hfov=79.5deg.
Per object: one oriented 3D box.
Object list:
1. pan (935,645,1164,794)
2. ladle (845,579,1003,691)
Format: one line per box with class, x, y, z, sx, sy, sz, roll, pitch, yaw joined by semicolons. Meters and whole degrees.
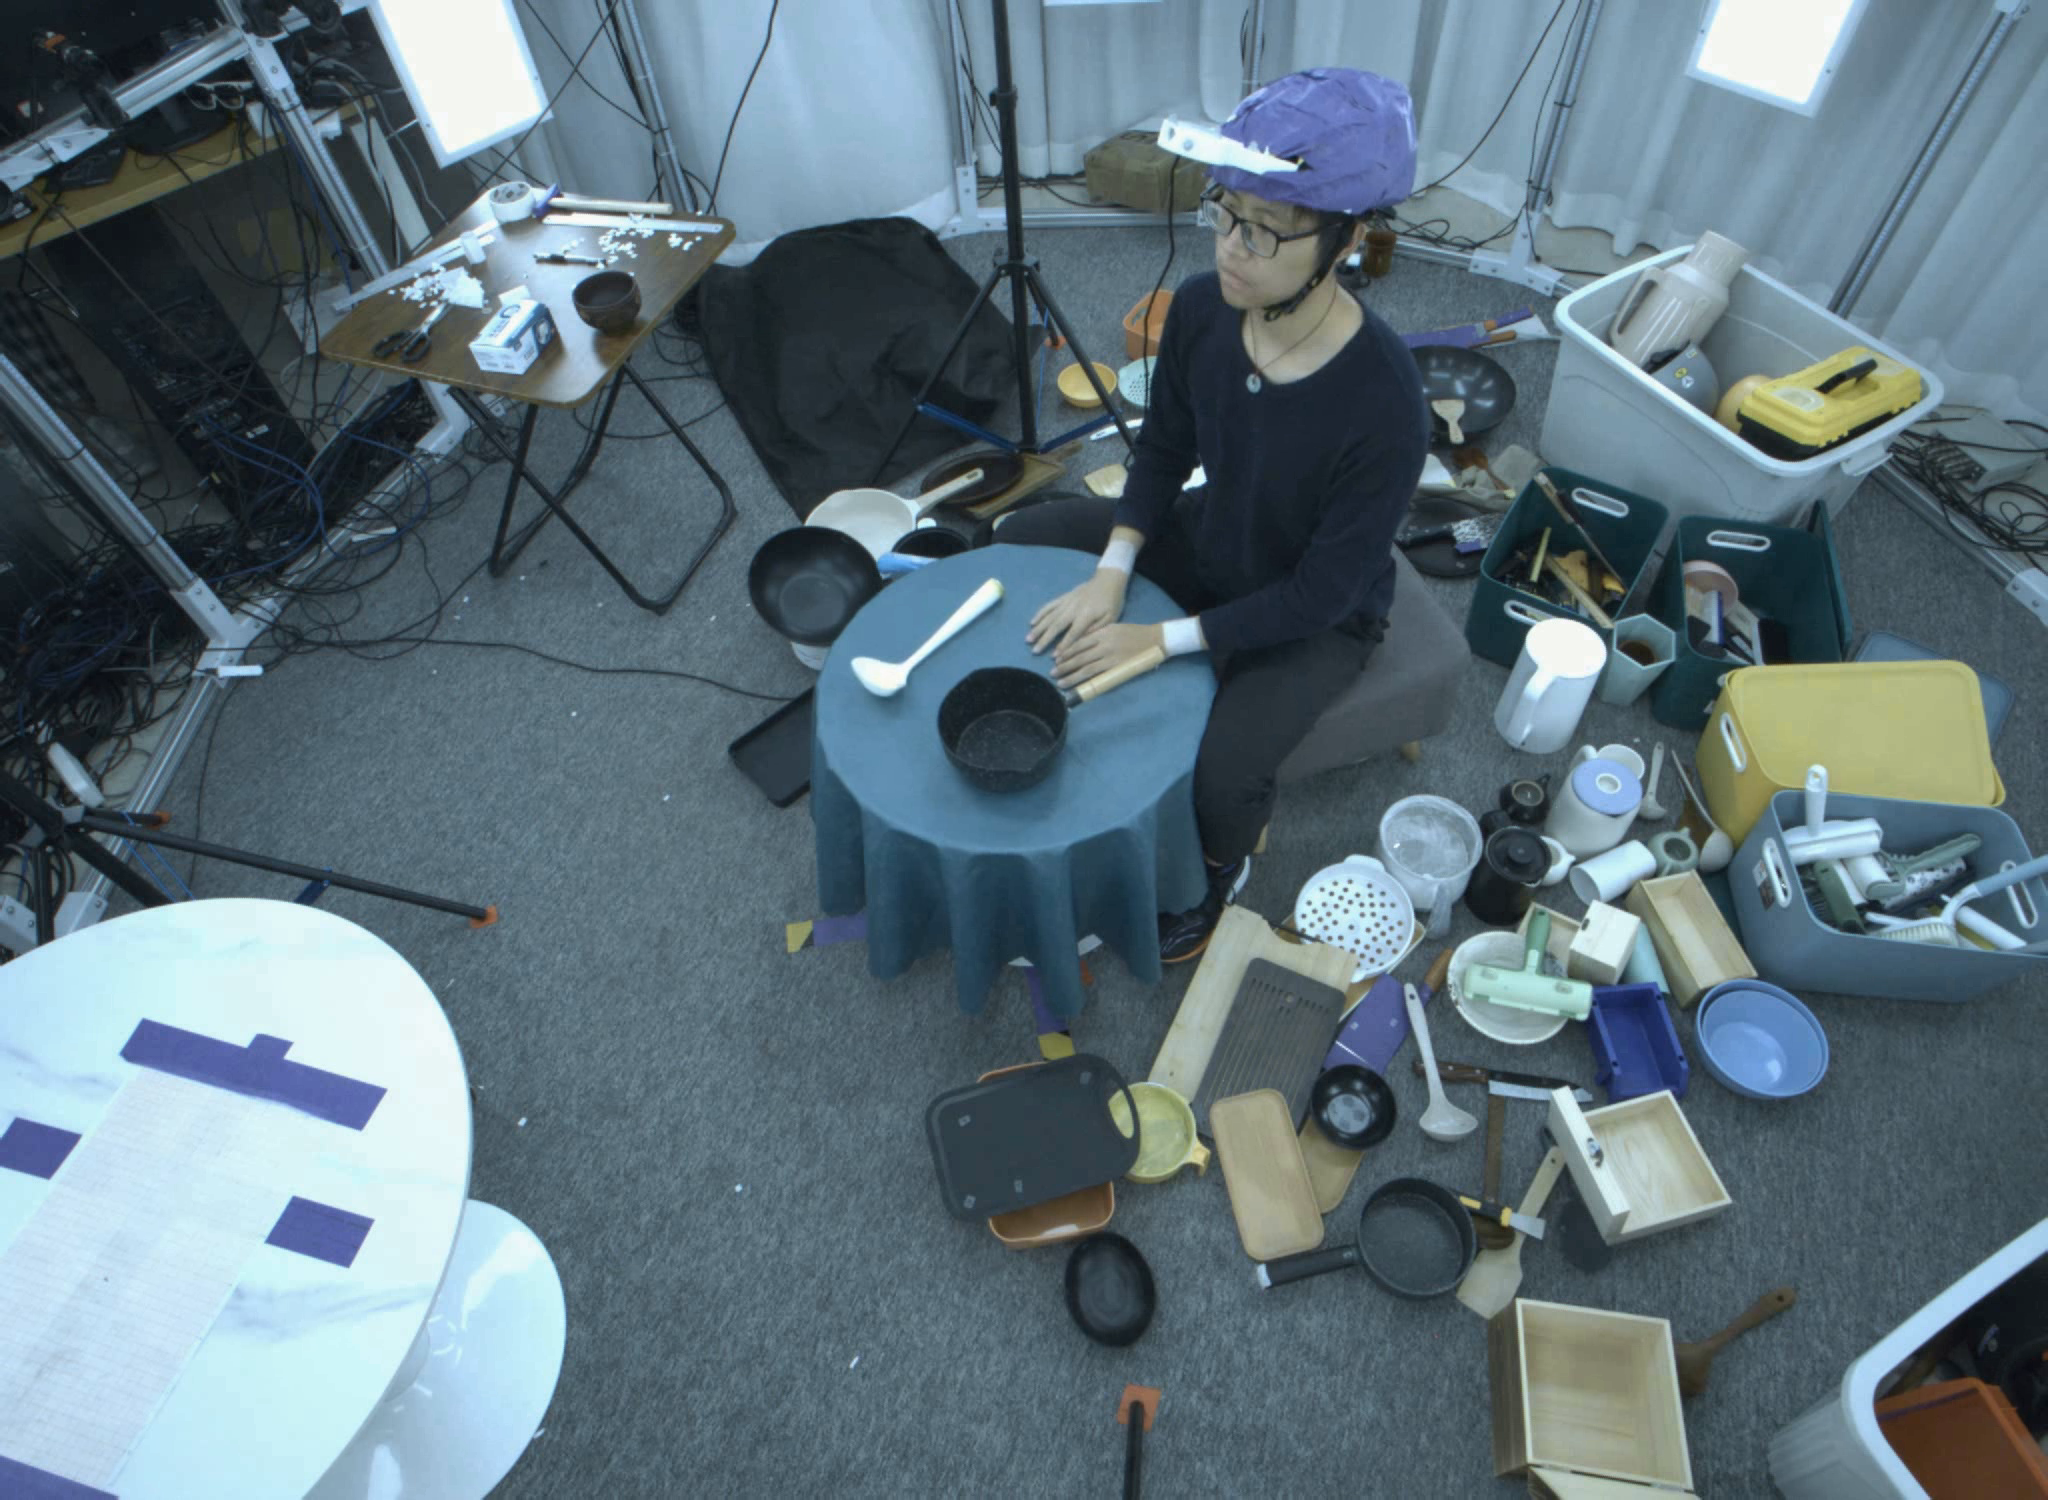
pan;0.043;-0.058;1.760;0.345;0.109;0.203;-22;56;-11
ladle;-0.146;-0.185;1.883;0.088;0.071;0.295;34;62;30
